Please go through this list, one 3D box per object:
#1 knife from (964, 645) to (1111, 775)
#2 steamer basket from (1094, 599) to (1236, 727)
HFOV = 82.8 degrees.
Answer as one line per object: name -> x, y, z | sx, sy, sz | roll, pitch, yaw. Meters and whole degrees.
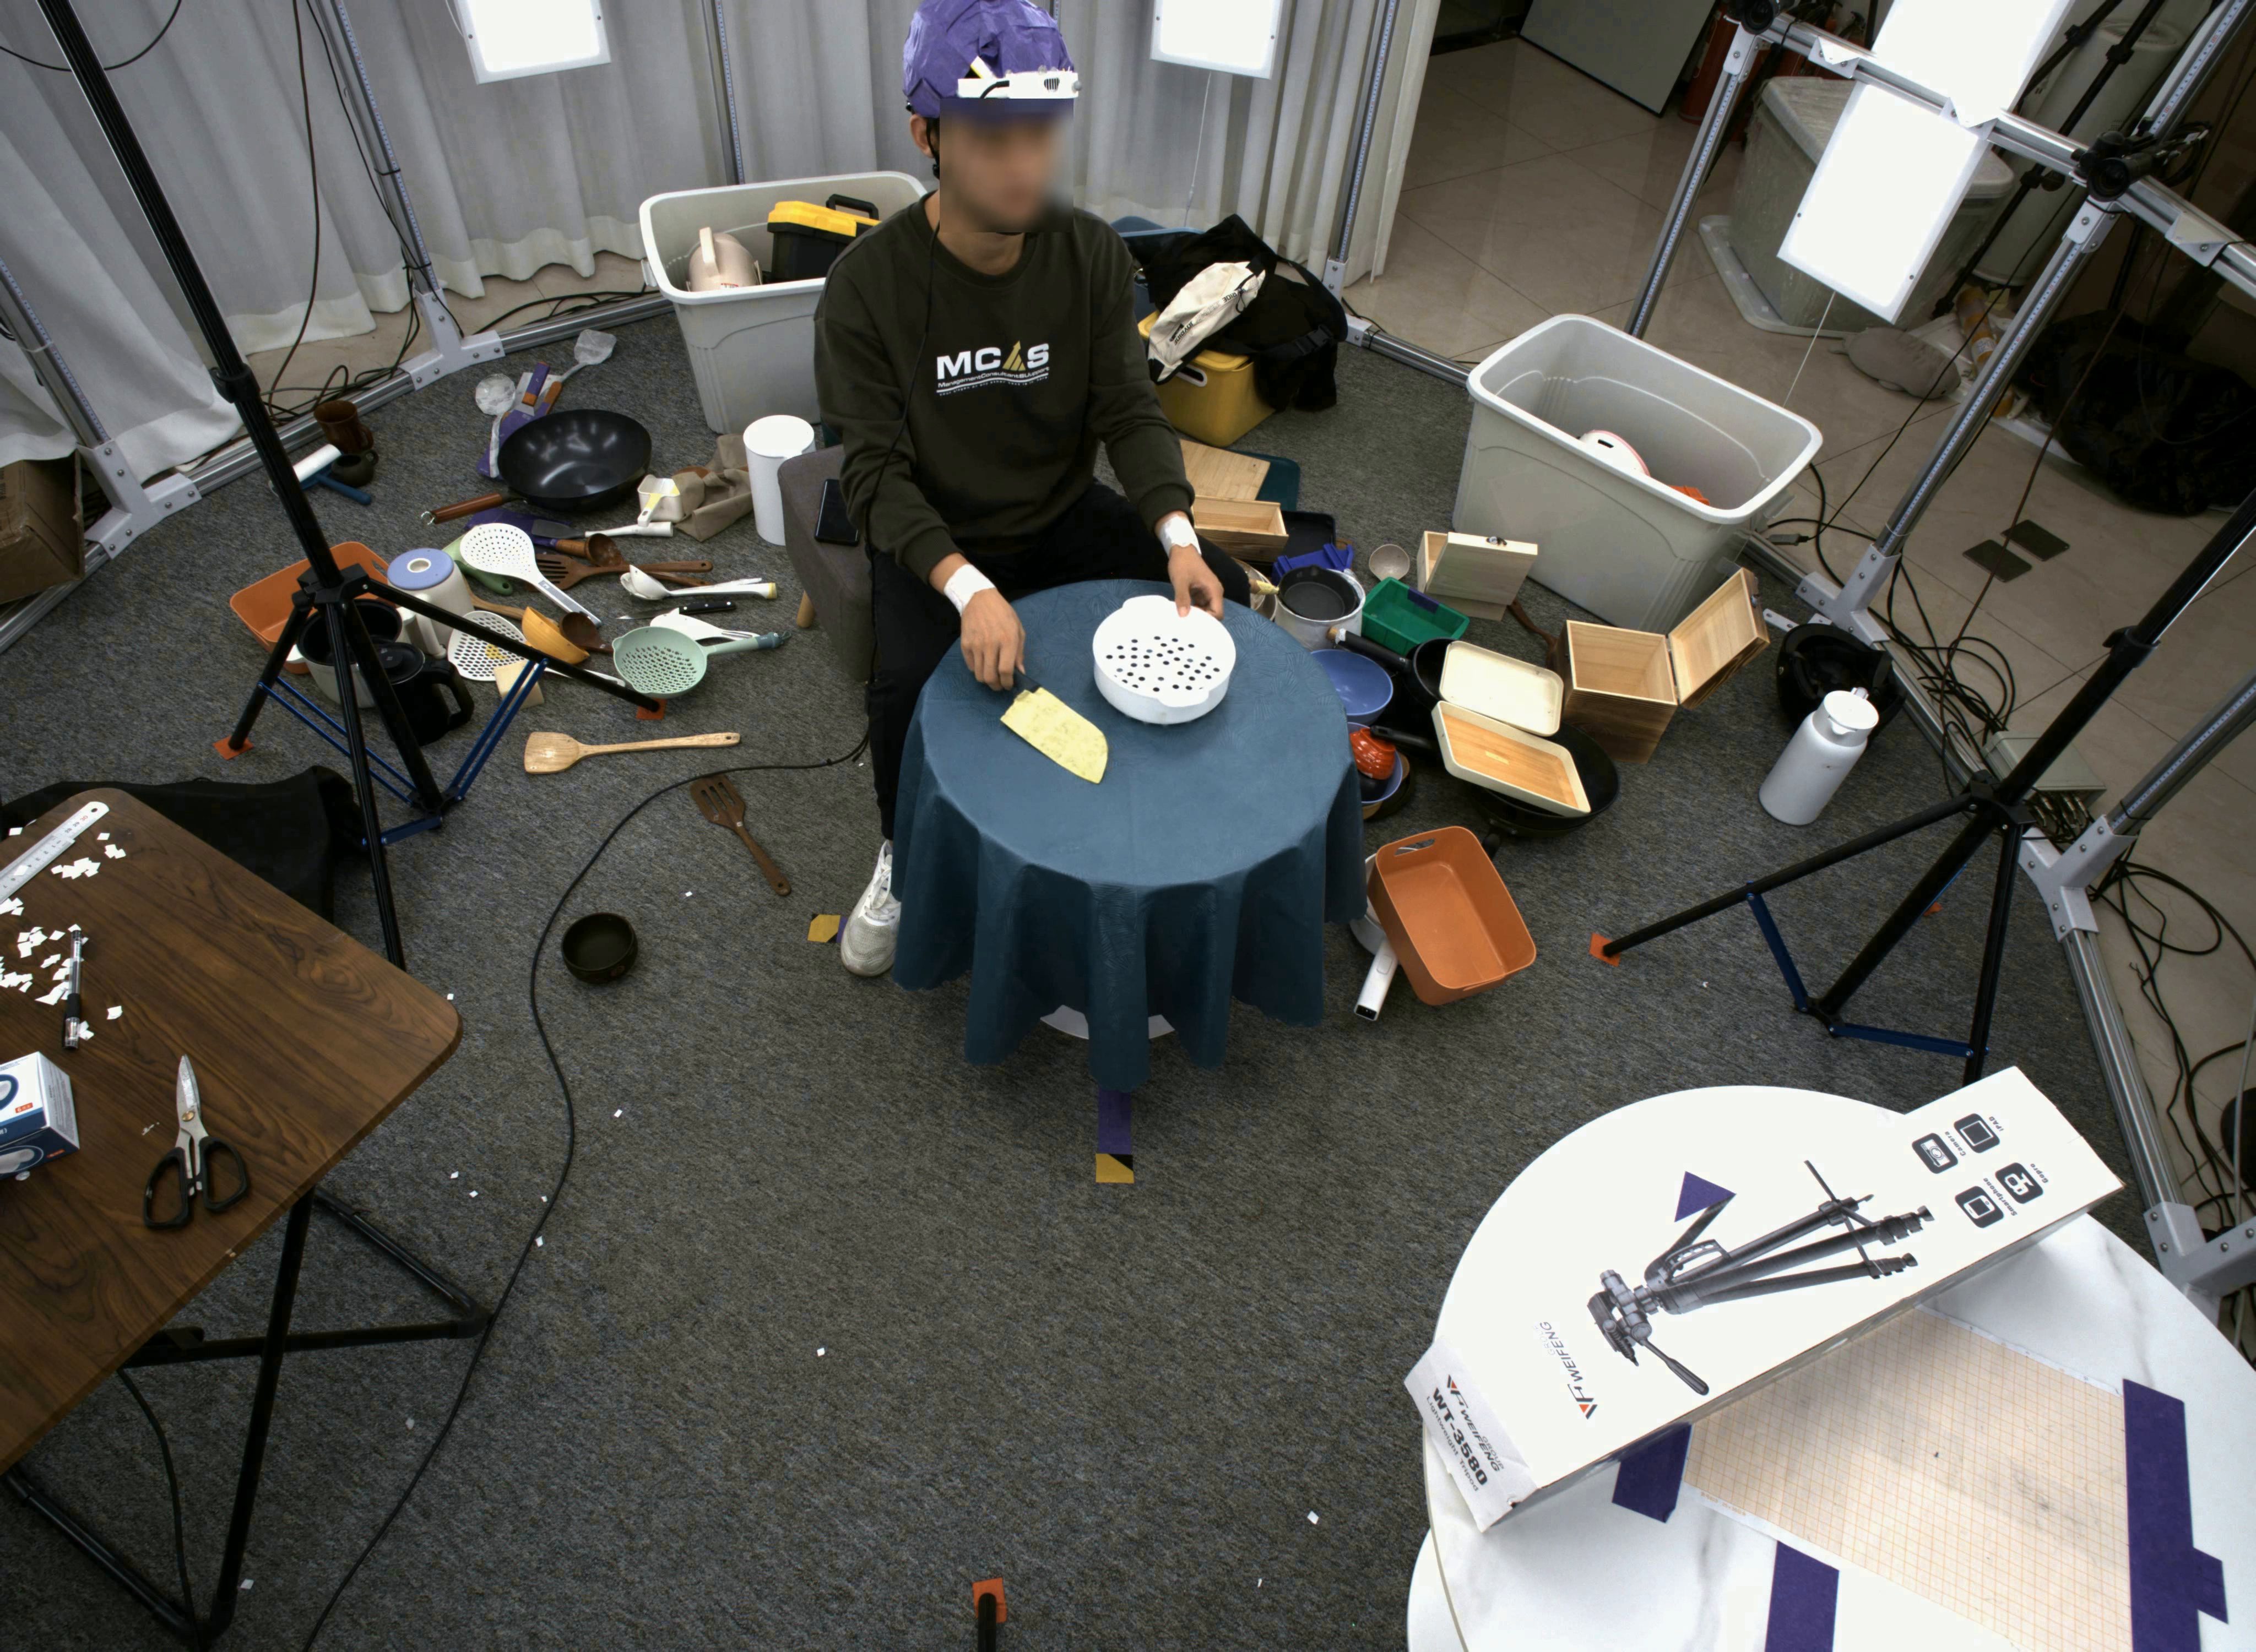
knife -> -0.132, -0.161, 1.772 | 0.293, 0.027, 0.081 | 40, 77, 23
steamer basket -> 0.051, -0.228, 1.825 | 0.202, 0.067, 0.236 | -8, 49, -12
